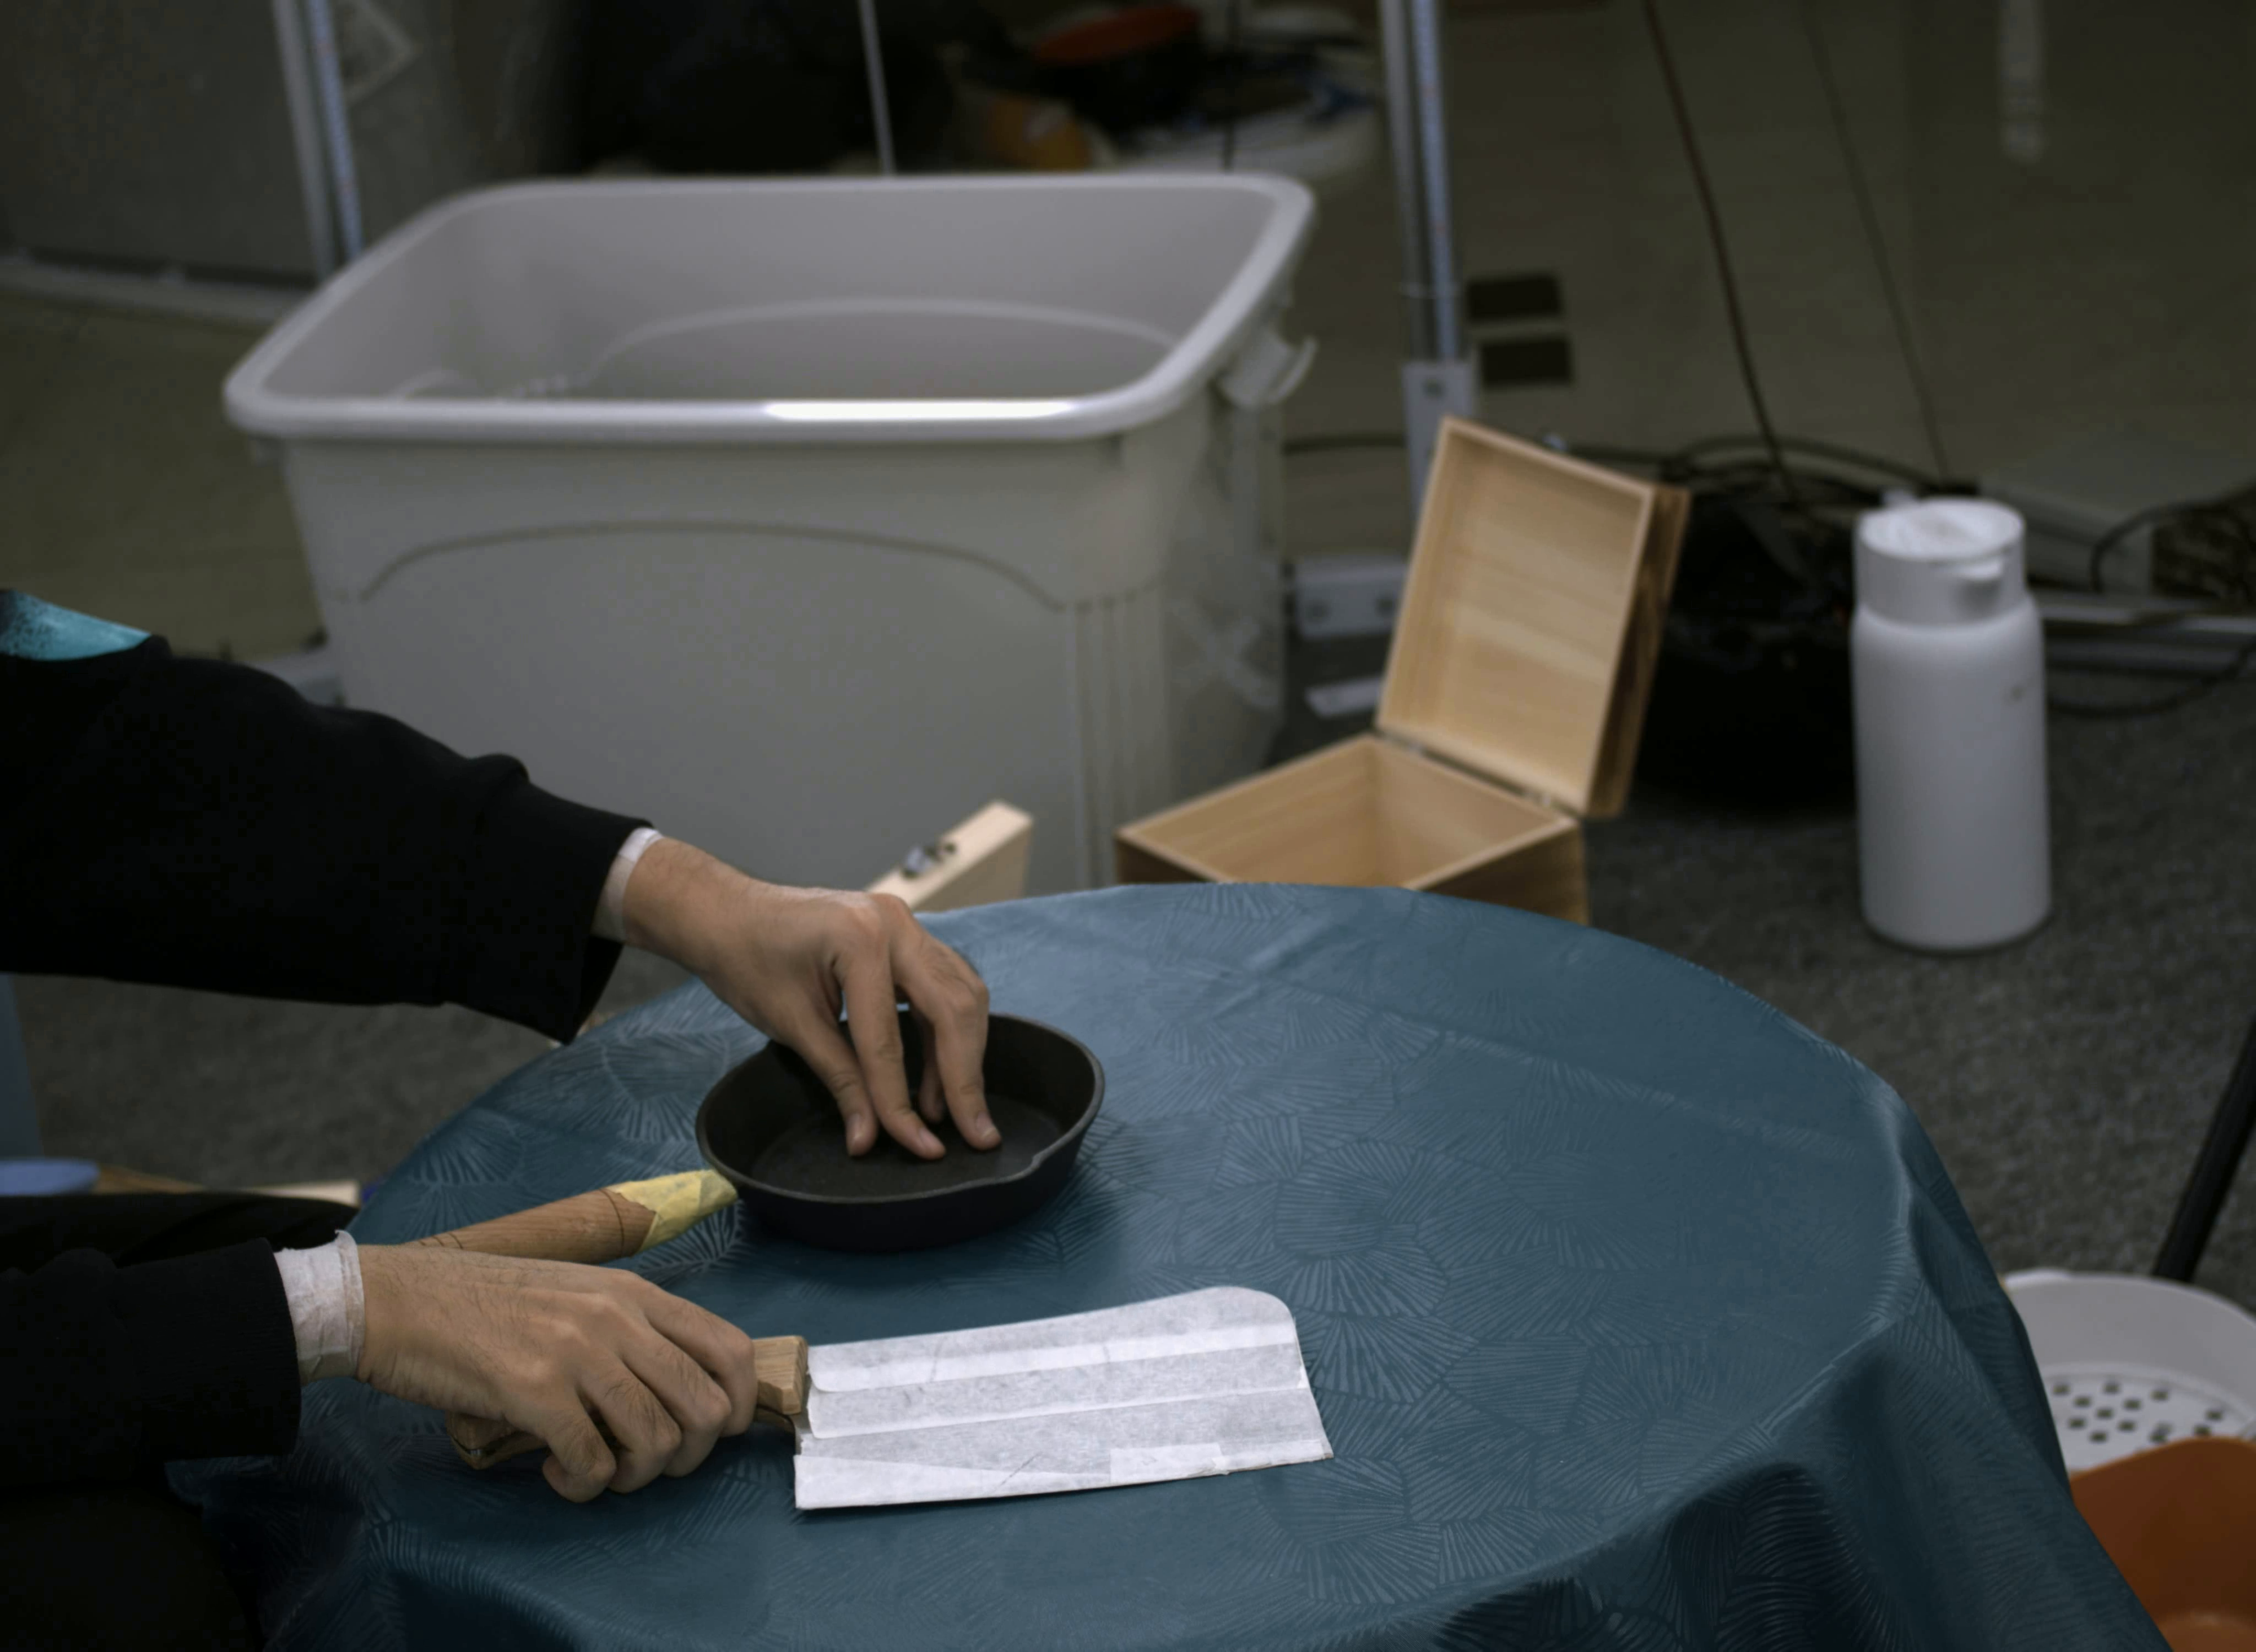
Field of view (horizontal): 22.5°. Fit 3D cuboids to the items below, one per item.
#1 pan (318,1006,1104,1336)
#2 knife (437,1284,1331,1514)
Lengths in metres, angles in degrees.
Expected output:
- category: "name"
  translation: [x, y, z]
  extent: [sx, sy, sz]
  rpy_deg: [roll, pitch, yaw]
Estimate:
- category: "pan"
  translation: [-0.156, 0.138, 2.128]
  extent: [0.322, 0.050, 0.167]
  rpy_deg: [-19, 28, -28]
- category: "knife"
  translation: [-0.087, 0.204, 2.000]
  extent: [0.315, 0.022, 0.112]
  rpy_deg: [-4, 34, 1]
